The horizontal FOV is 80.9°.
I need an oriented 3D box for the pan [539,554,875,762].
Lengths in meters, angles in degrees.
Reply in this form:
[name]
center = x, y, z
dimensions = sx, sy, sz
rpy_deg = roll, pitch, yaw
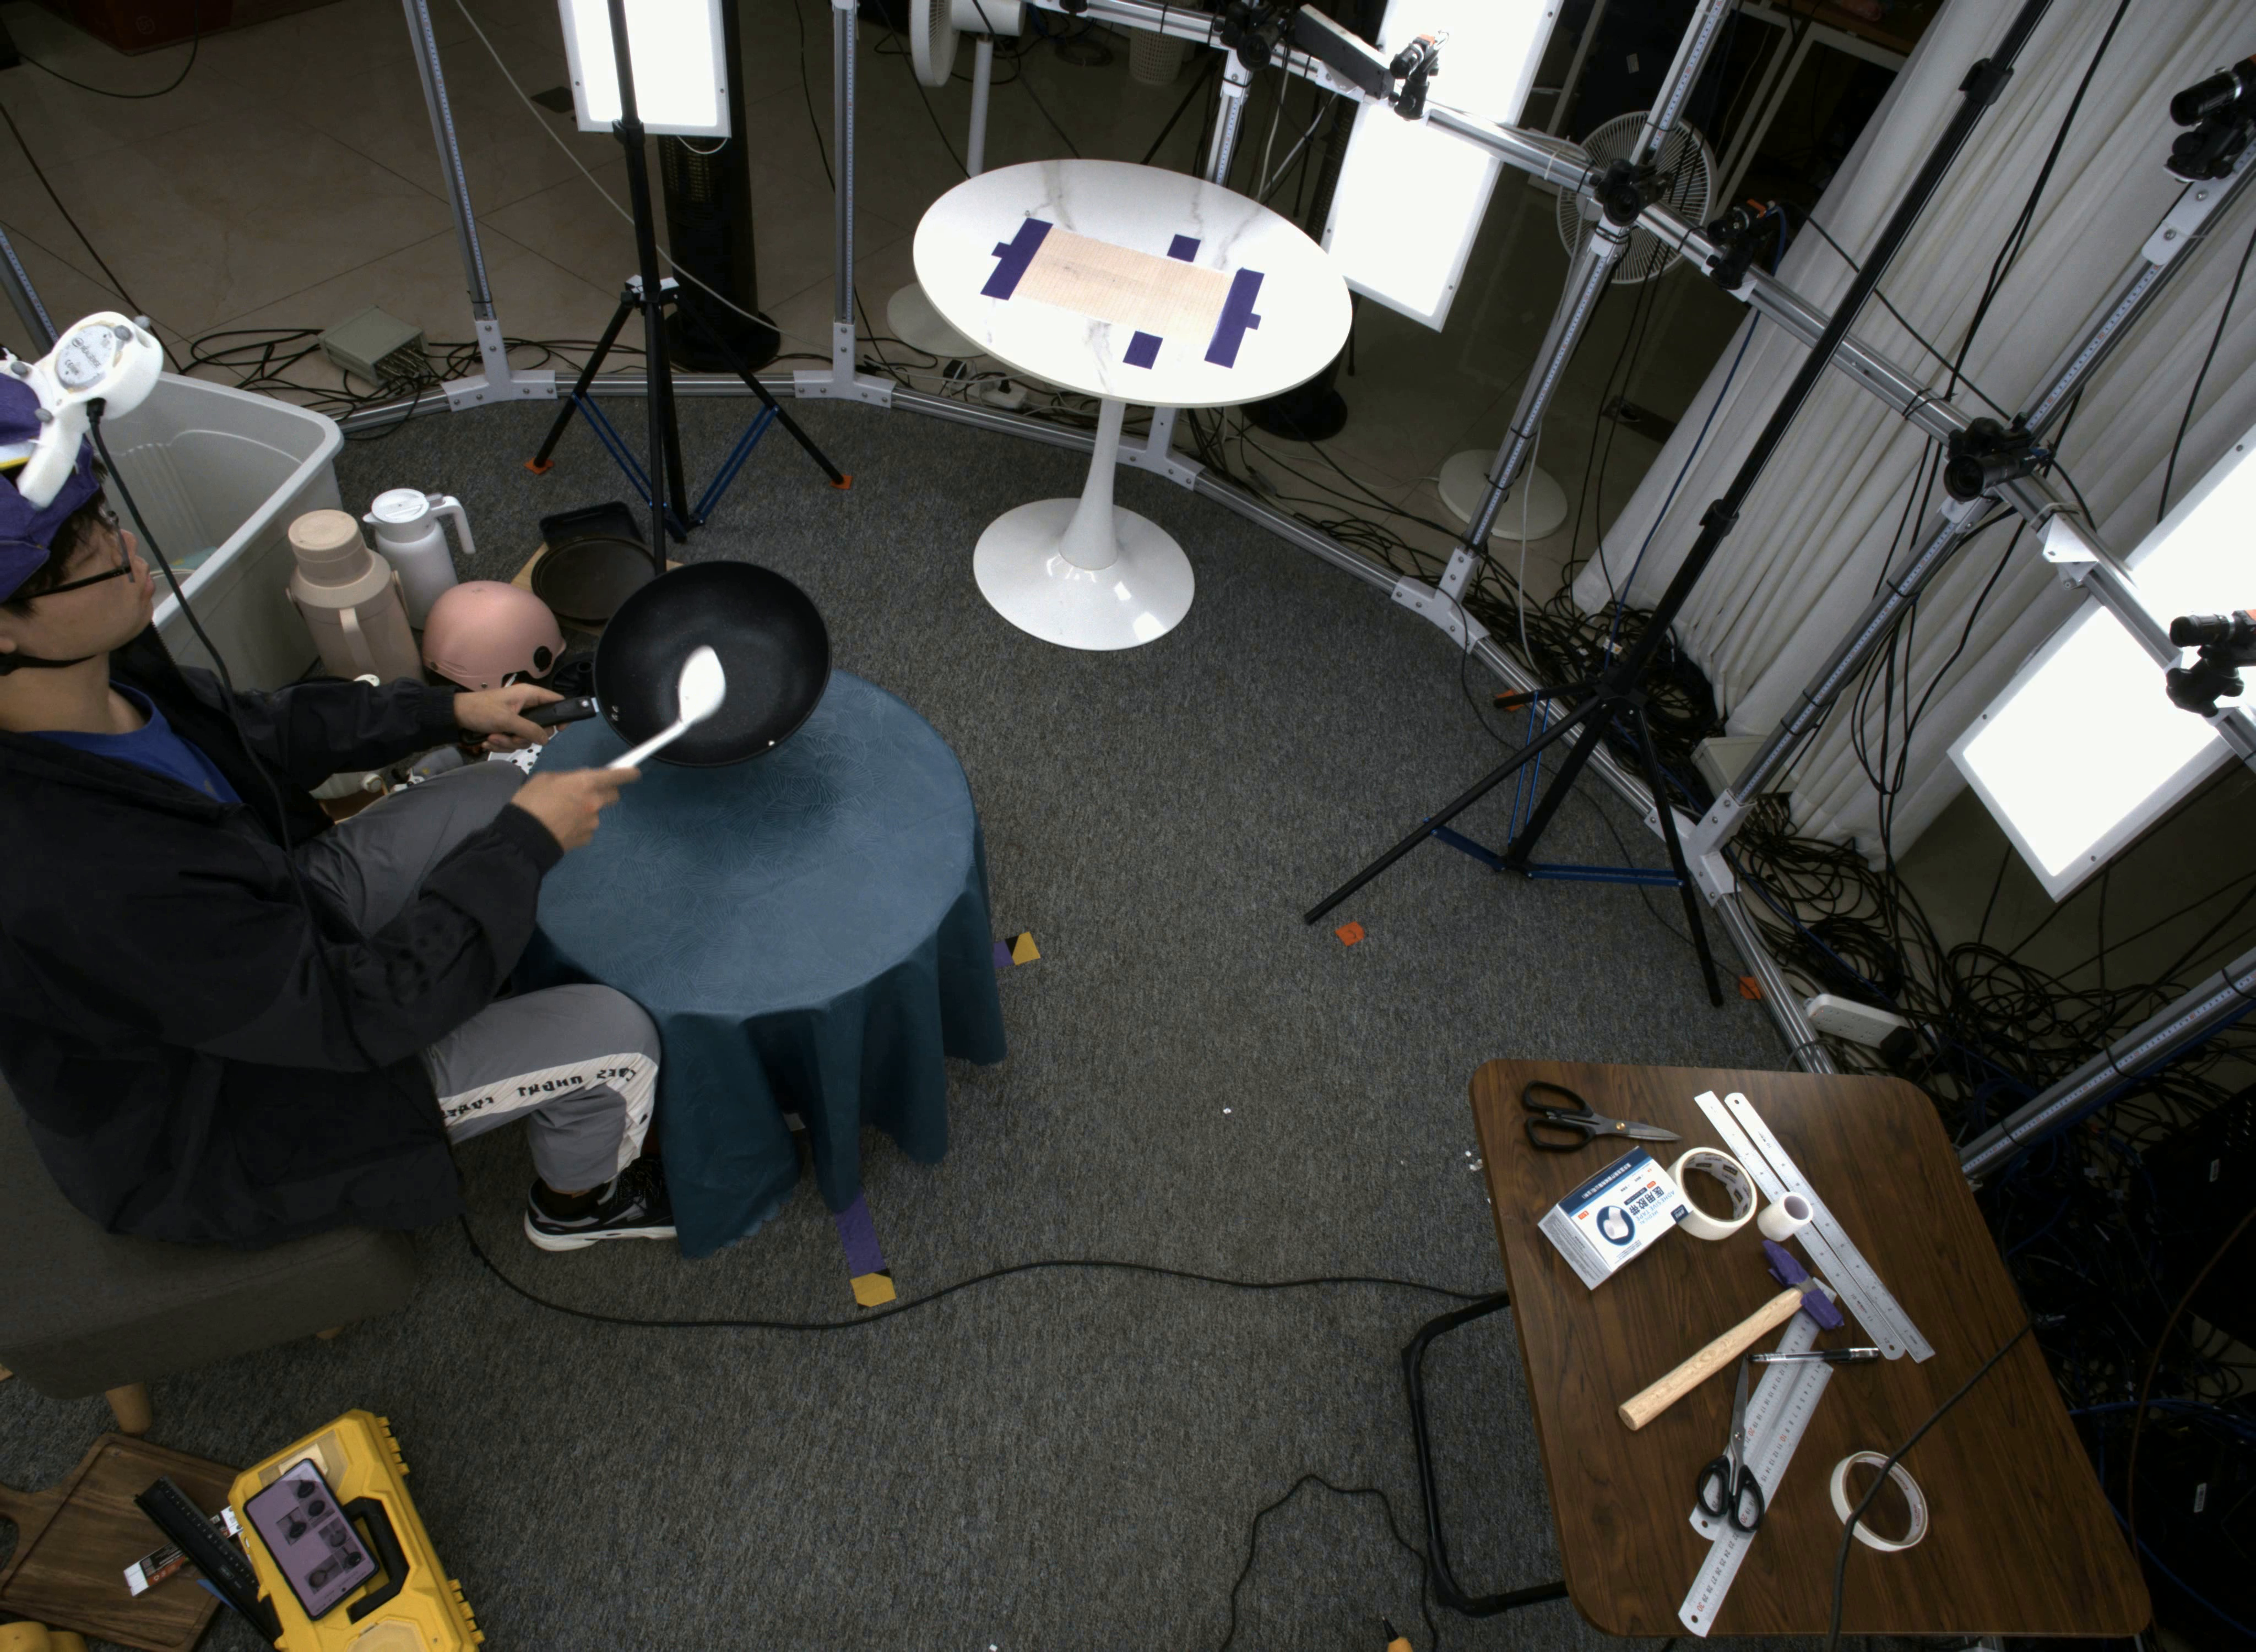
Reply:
[pan]
center = -0.565, -0.187, 1.701
dimensions = 0.476, 0.113, 0.305
rpy_deg = -20, 70, -13

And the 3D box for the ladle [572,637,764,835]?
[ladle]
center = -0.541, -0.108, 1.498
dimensions = 0.087, 0.072, 0.293
rpy_deg = 25, 56, 36
